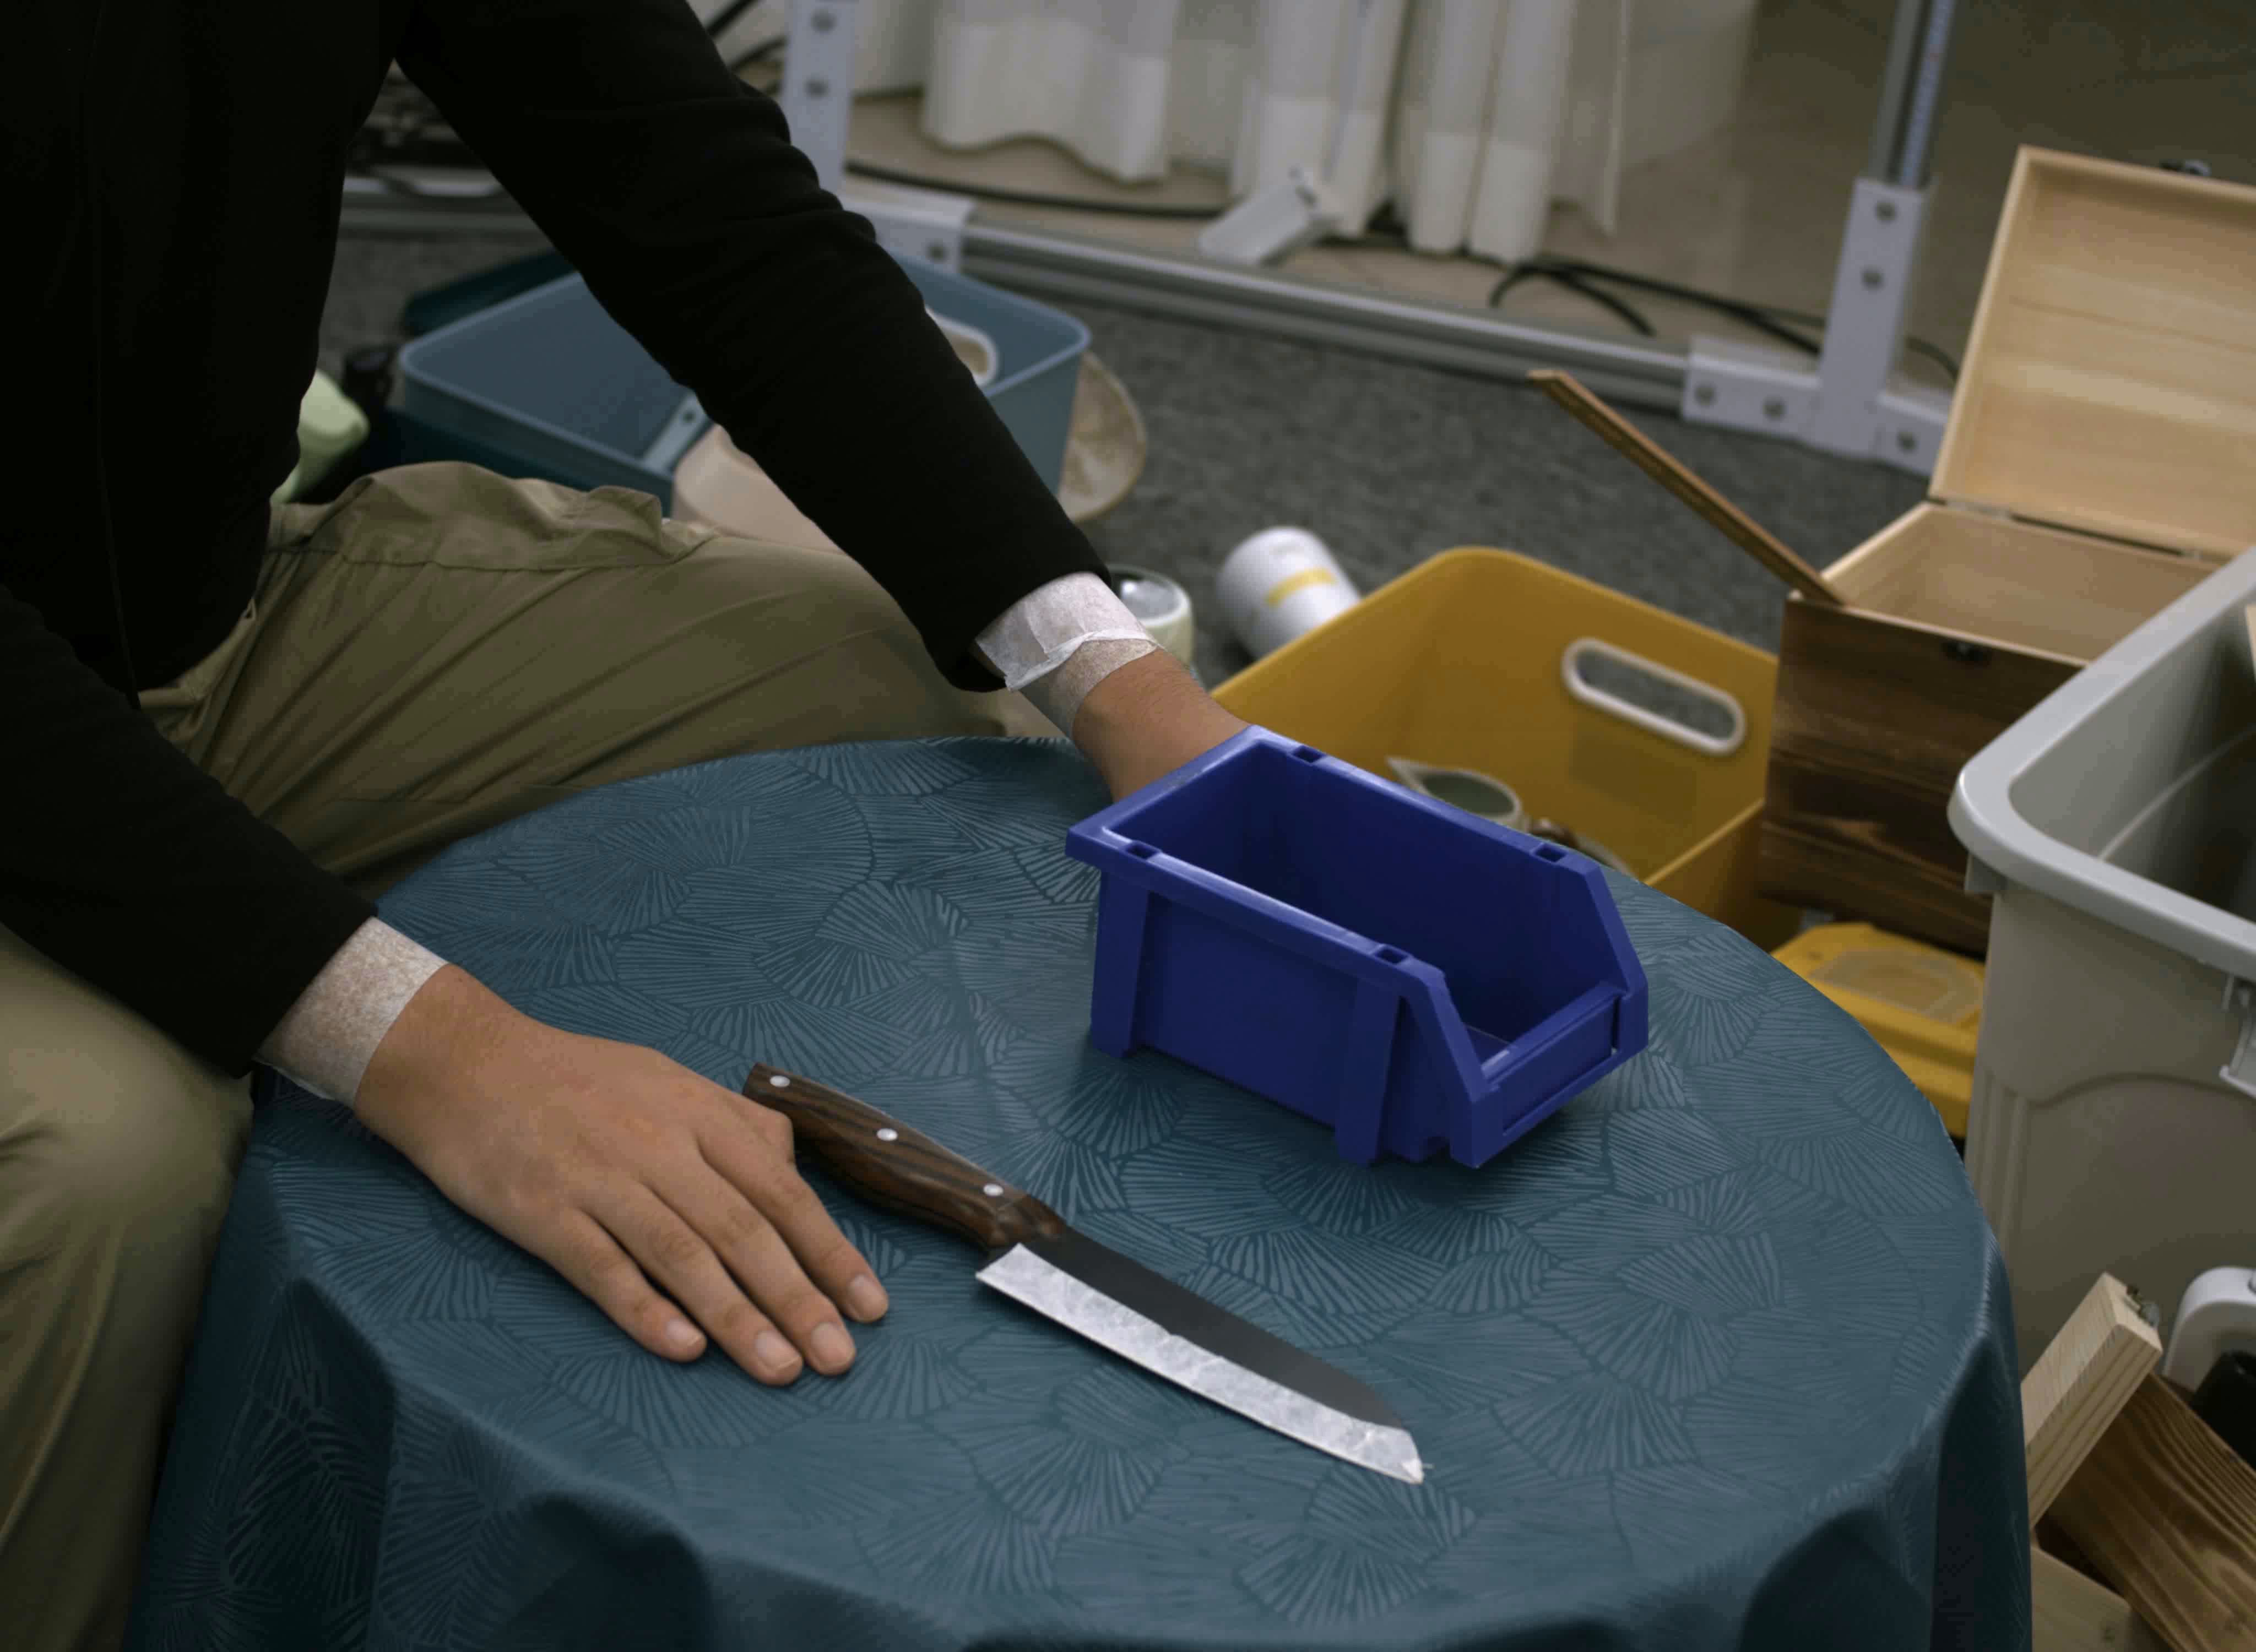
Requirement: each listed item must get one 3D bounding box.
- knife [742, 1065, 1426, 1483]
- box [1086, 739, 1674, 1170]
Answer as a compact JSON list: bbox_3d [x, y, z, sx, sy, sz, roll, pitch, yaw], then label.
[{"bbox_3d":[-0.018,0.147,1.737,0.291,0.020,0.050,27,38,30],"label":"knife"},{"bbox_3d":[0.090,0.049,1.878,0.180,0.081,0.124,21,30,31],"label":"box"}]
